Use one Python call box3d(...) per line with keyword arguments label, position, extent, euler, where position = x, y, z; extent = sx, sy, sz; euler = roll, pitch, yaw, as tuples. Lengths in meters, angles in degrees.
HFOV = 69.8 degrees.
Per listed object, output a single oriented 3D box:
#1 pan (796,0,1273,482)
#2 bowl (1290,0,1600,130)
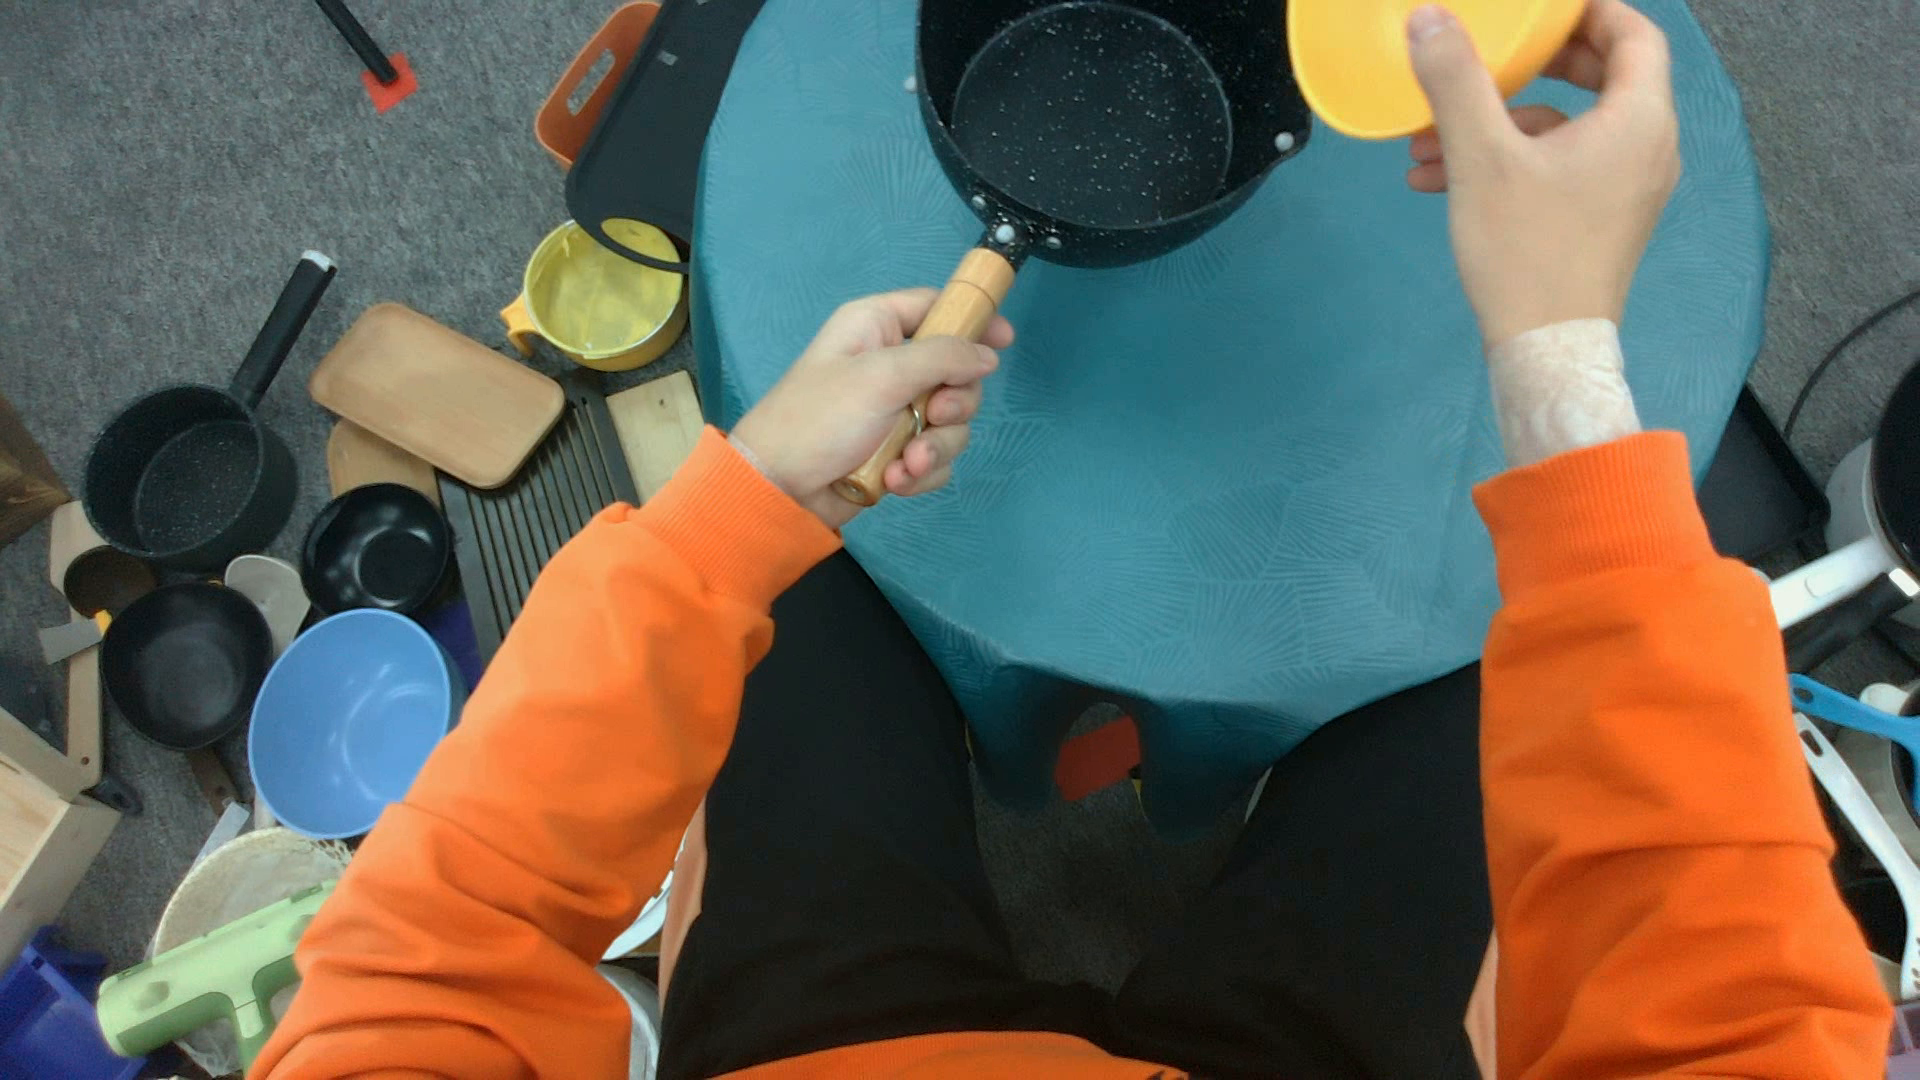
box3d(label="pan", position=(0.018, -0.164, 0.650), extent=(0.207, 0.108, 0.343), euler=(26, 76, 1))
box3d(label="bowl", position=(0.207, -0.229, 0.555), extent=(0.060, 0.144, 0.145), euler=(9, 69, -35))
